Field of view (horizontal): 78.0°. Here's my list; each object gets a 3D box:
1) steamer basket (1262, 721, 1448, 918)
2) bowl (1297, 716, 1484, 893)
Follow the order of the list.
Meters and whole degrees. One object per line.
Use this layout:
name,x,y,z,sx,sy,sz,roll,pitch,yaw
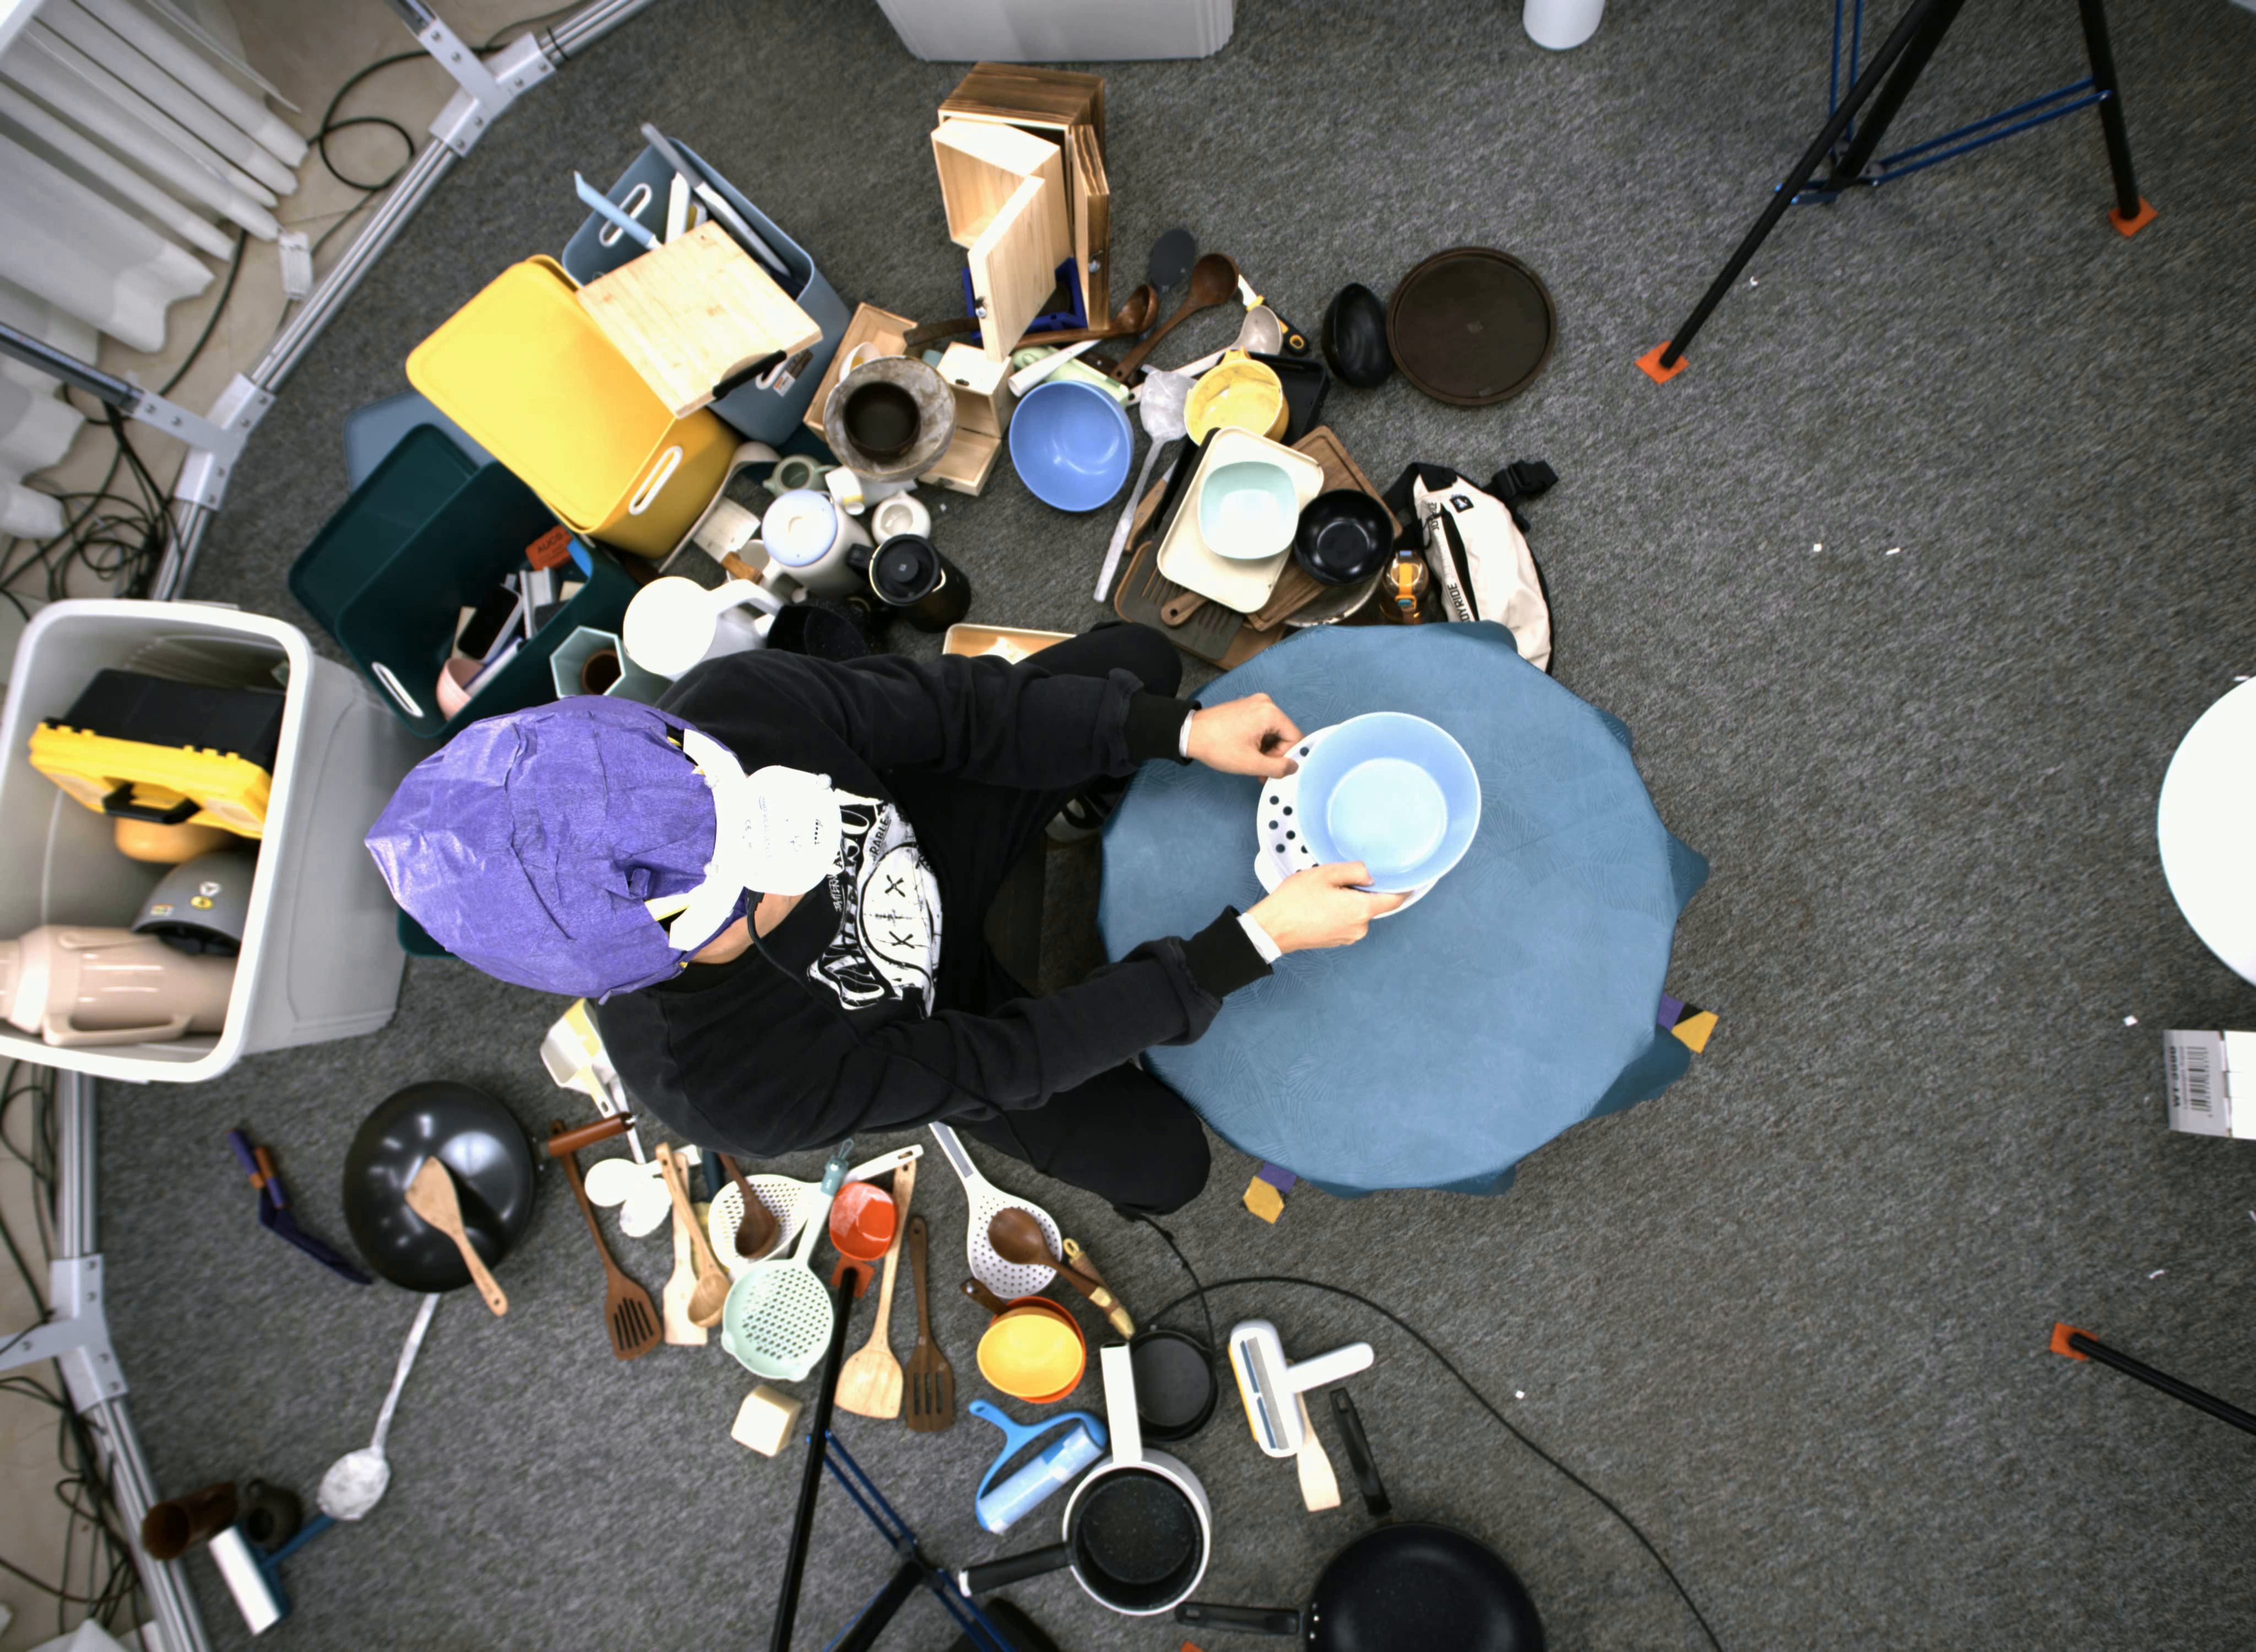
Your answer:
steamer basket,0.240,-0.010,1.422,0.232,0.068,0.202,-38,95,8
bowl,0.254,-0.014,1.334,0.177,0.071,0.174,-3,76,12
